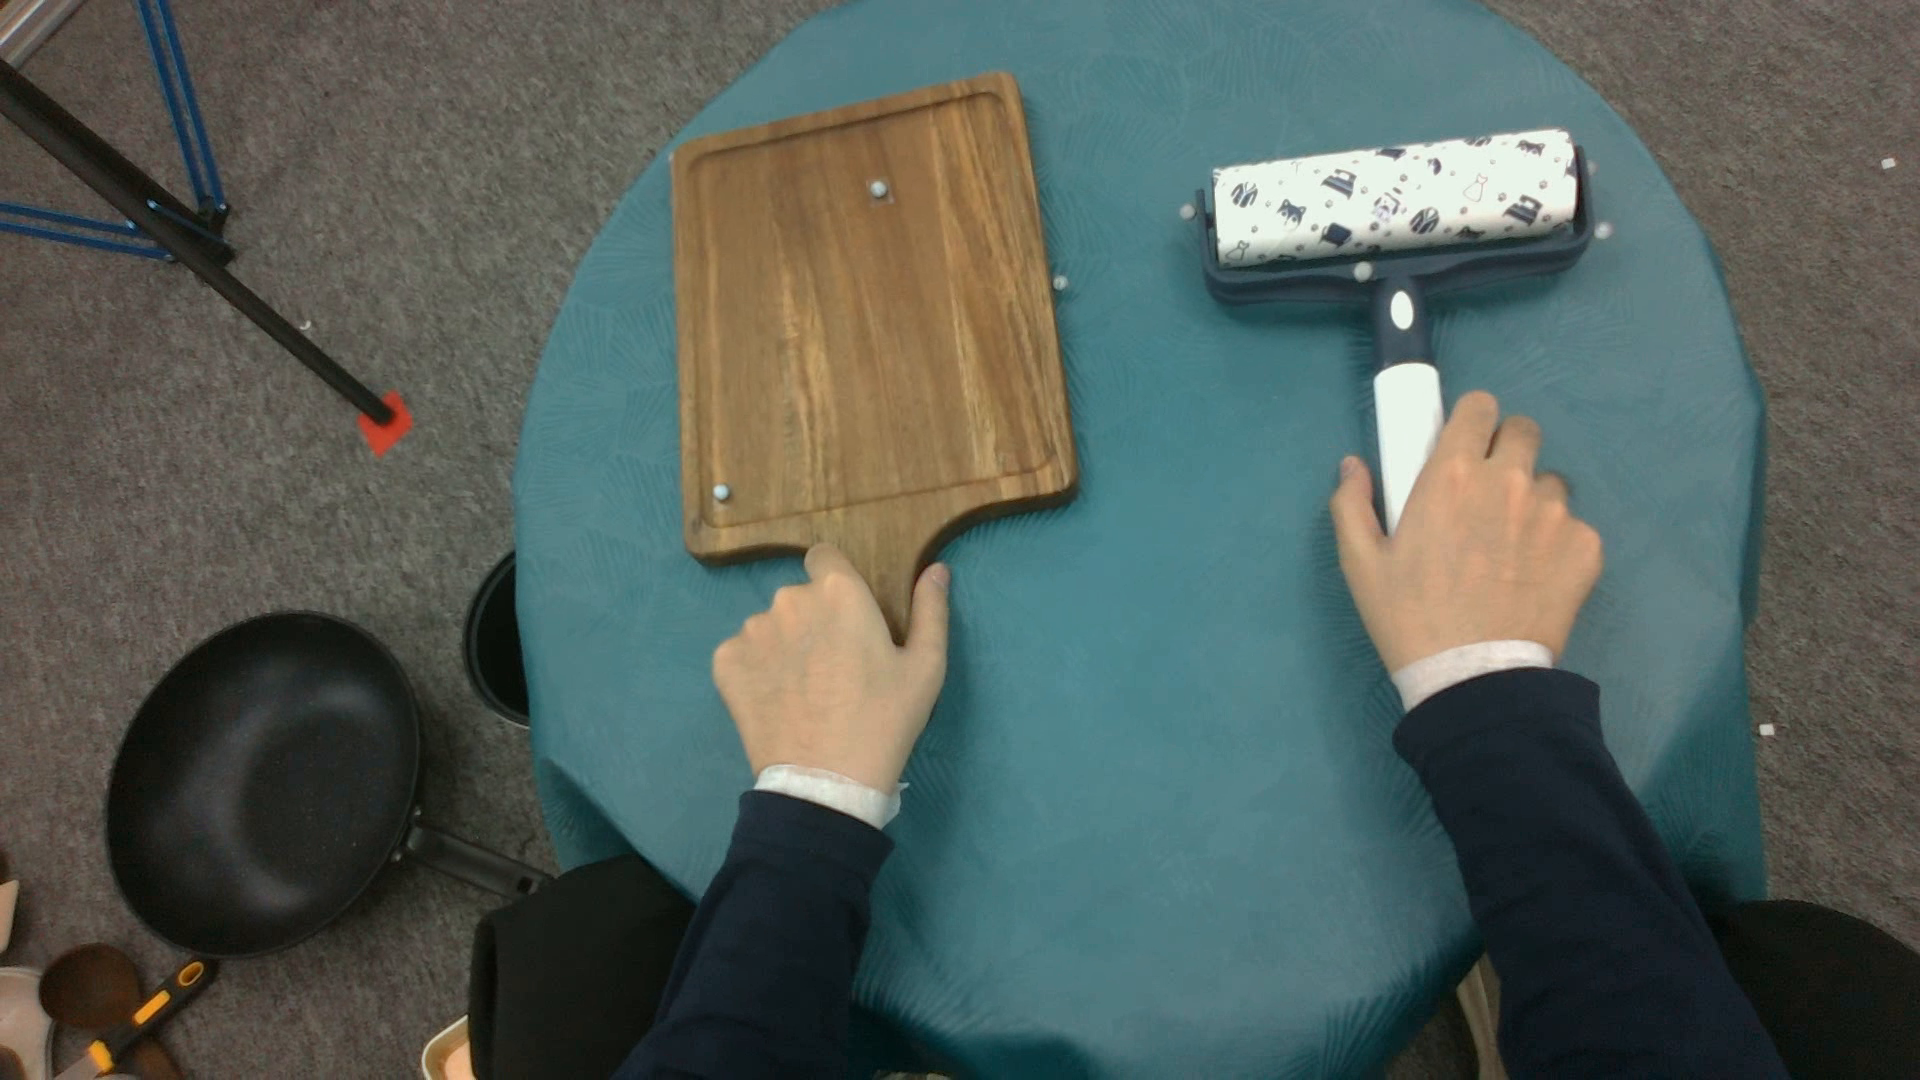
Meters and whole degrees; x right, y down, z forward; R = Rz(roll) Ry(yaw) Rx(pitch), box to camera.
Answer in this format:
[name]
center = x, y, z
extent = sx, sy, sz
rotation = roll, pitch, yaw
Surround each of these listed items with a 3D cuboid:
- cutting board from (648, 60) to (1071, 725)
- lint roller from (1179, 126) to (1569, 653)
[cutting board]
center = -0.054, -0.079, 0.689
extent = 0.201, 0.023, 0.353
rotation = -11, 67, 7
[lint roller]
center = 0.197, -0.073, 0.626
extent = 0.176, 0.050, 0.248
rotation = -4, 70, 8
